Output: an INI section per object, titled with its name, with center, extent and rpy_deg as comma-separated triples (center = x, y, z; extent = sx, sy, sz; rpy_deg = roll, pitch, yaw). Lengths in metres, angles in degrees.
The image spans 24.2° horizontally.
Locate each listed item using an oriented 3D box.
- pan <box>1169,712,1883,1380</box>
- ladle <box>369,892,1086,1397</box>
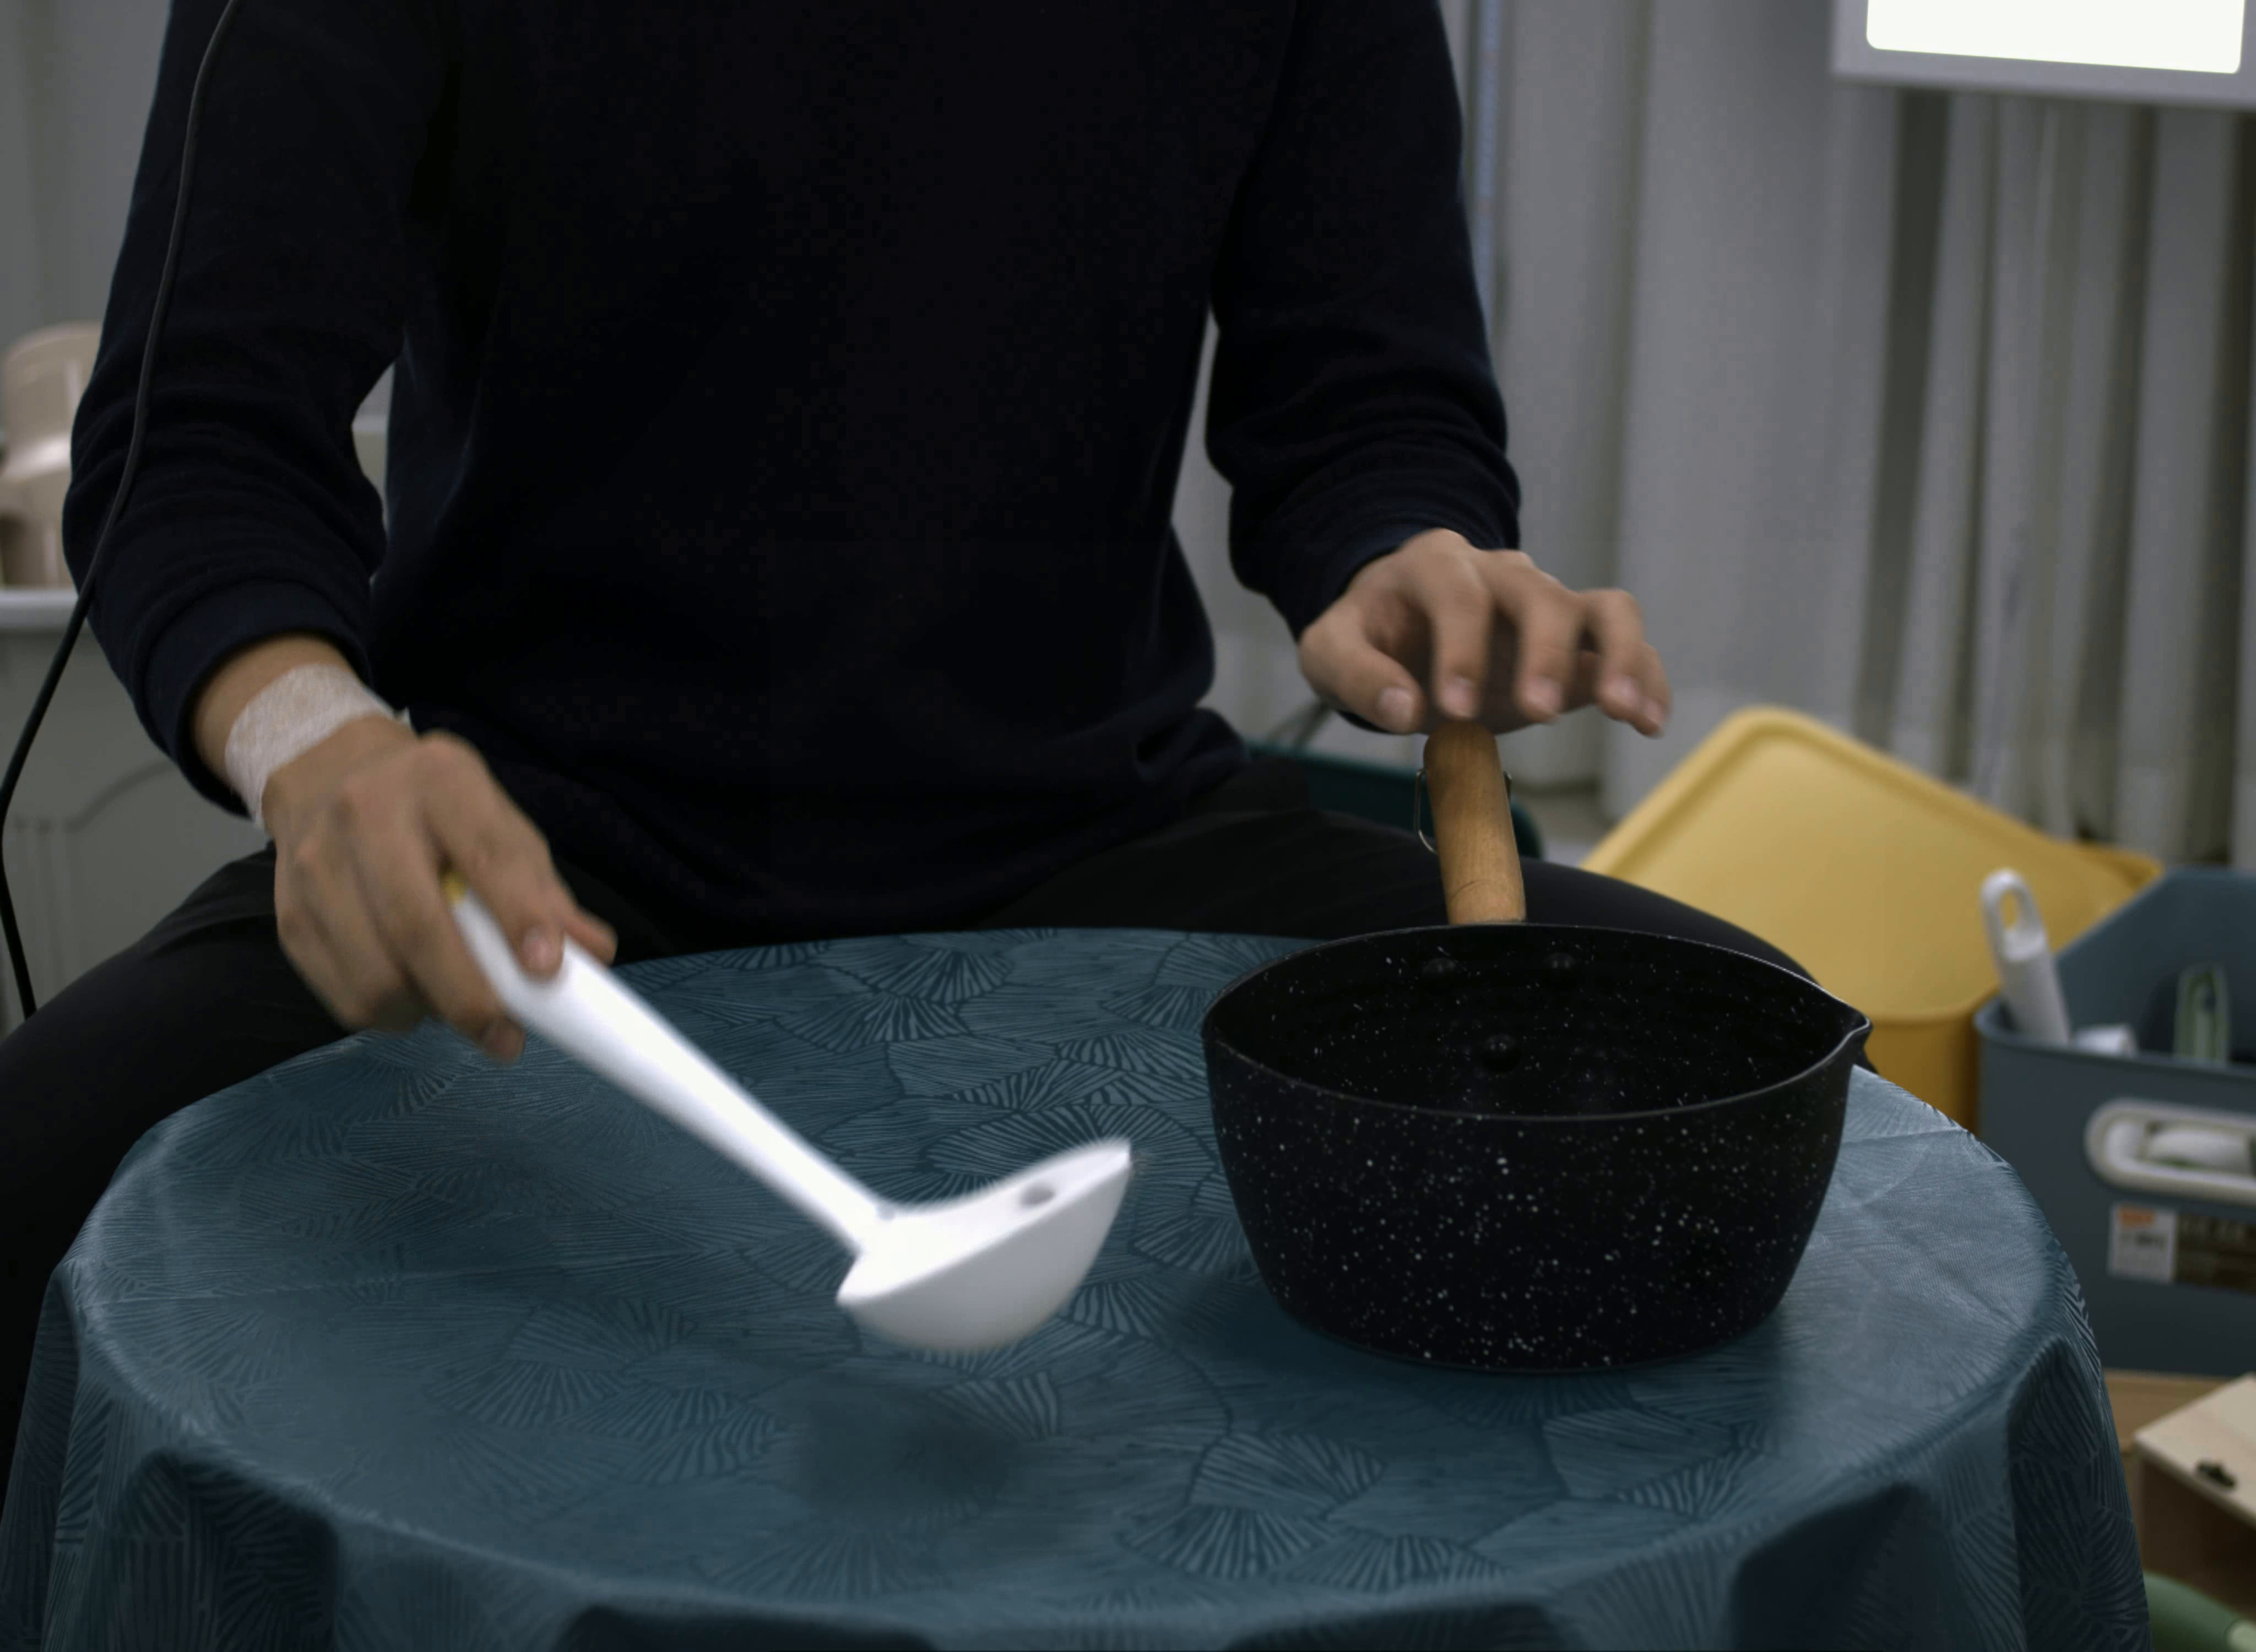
[pan]
center = 0.112, 0.061, 1.606
extent = 0.207, 0.109, 0.340
rpy_deg = -1, 17, -3
[ladle]
center = -0.123, 0.077, 1.475
extent = 0.090, 0.071, 0.289
rpy_deg = -34, 45, -27
